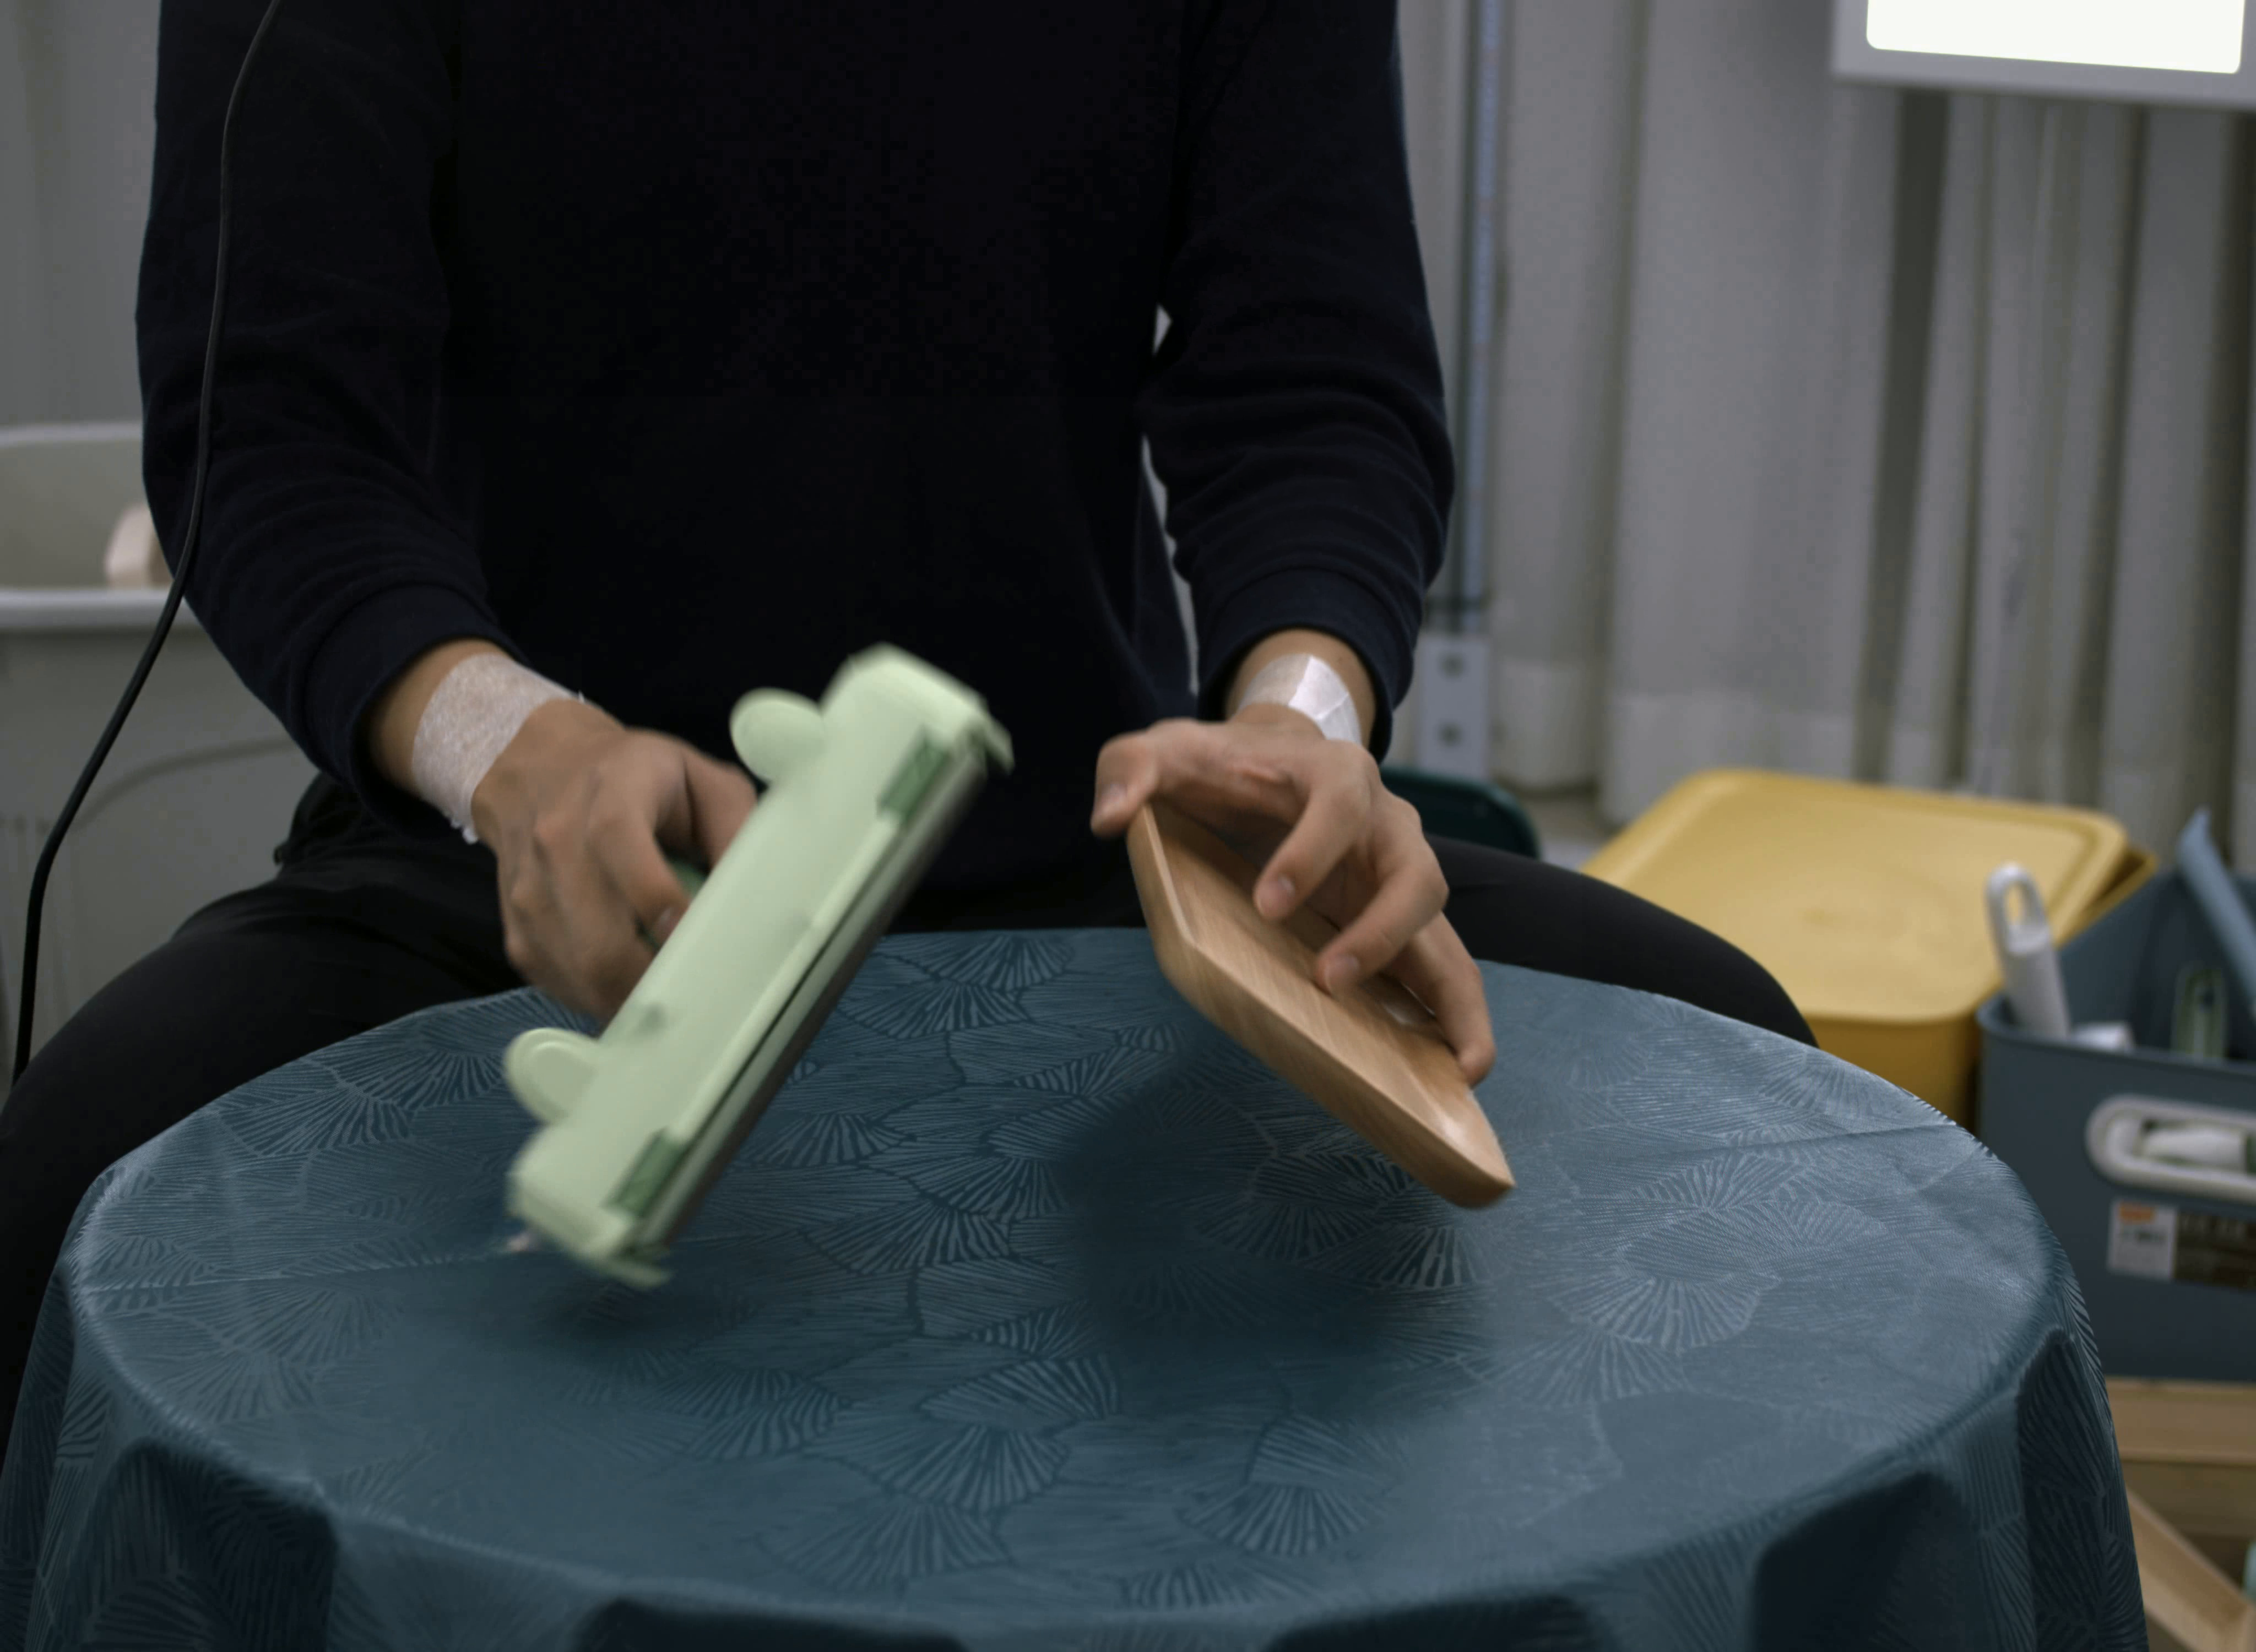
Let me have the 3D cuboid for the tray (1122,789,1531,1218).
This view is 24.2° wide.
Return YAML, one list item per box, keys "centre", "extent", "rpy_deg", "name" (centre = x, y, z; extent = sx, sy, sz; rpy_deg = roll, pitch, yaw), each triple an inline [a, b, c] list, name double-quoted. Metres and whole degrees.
- centre: [0.055, 0.051, 1.586]
  extent: [0.131, 0.023, 0.249]
  rpy_deg: [39, 6, -10]
  name: "tray"

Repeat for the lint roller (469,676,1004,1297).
- centre: [-0.144, 0.027, 1.552]
  extent: [0.083, 0.198, 0.181]
  rpy_deg: [44, -10, -35]
  name: "lint roller"
